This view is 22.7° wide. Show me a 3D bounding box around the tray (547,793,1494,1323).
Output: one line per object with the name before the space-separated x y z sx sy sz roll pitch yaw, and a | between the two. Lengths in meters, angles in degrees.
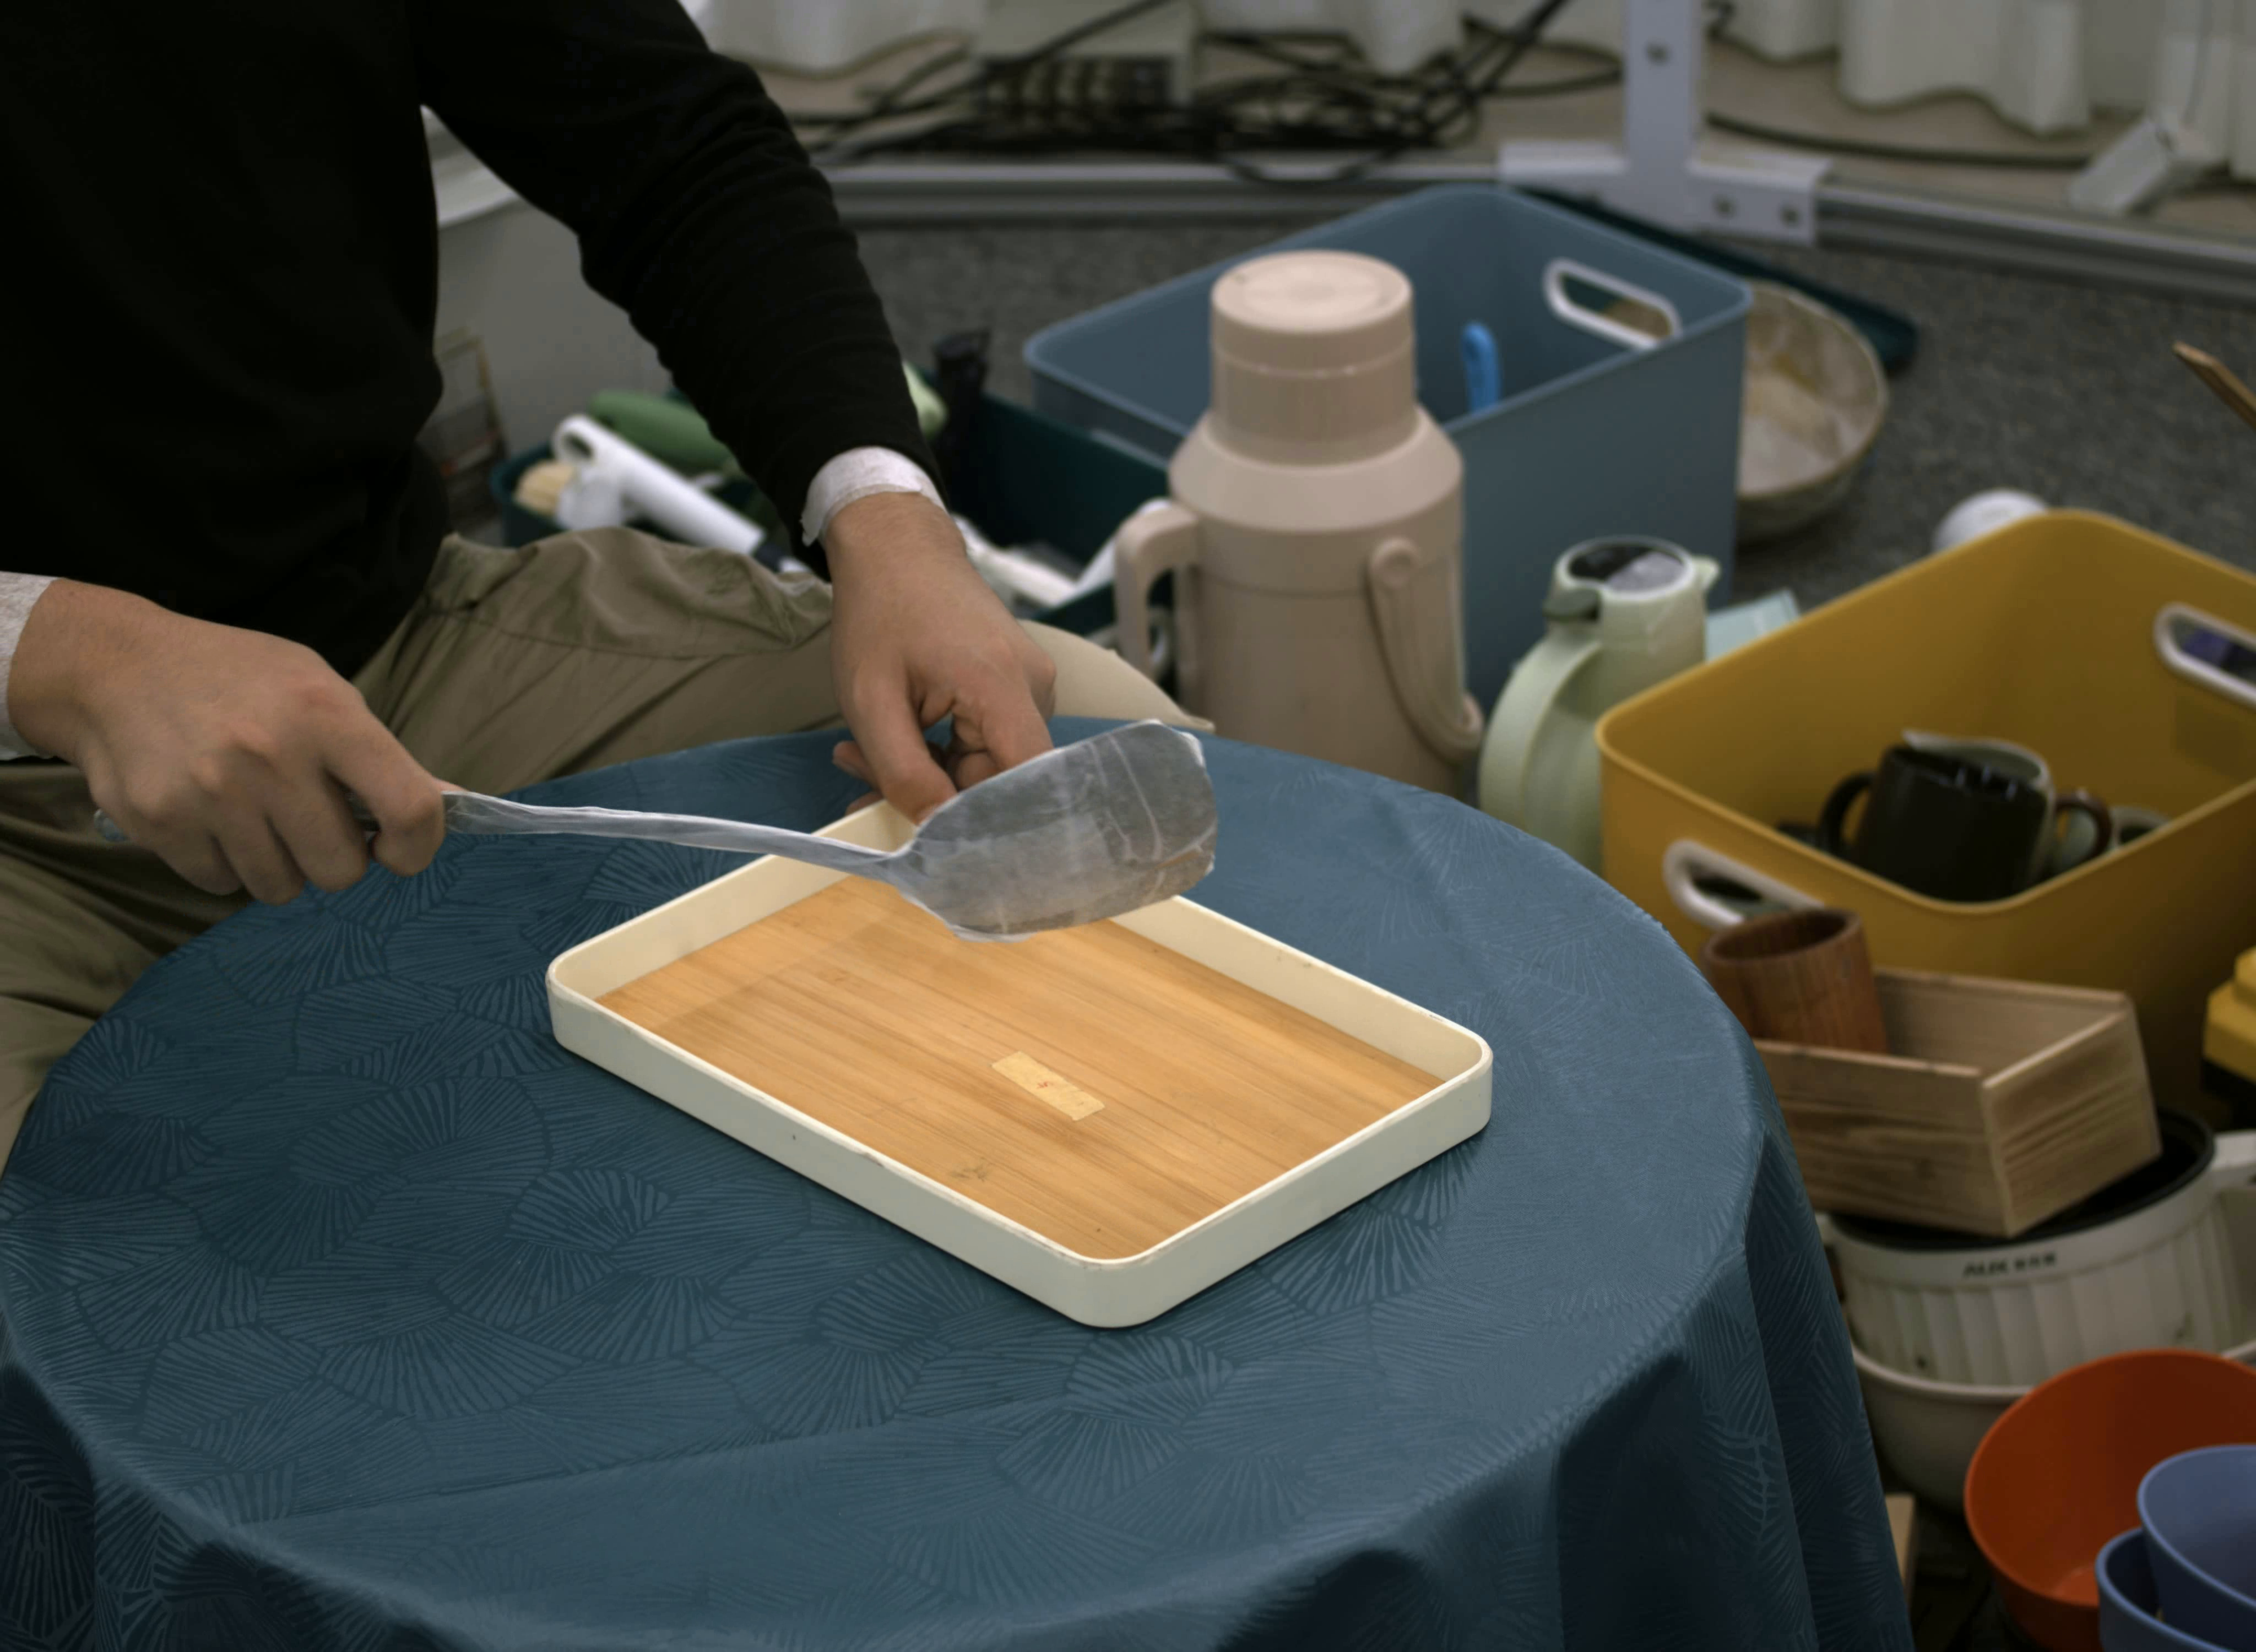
tray | -0.040 0.074 1.927 0.194 0.027 0.300 -26 35 -37

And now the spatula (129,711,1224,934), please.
spatula | -0.152 -0.002 1.837 0.362 0.097 0.045 3 54 10
